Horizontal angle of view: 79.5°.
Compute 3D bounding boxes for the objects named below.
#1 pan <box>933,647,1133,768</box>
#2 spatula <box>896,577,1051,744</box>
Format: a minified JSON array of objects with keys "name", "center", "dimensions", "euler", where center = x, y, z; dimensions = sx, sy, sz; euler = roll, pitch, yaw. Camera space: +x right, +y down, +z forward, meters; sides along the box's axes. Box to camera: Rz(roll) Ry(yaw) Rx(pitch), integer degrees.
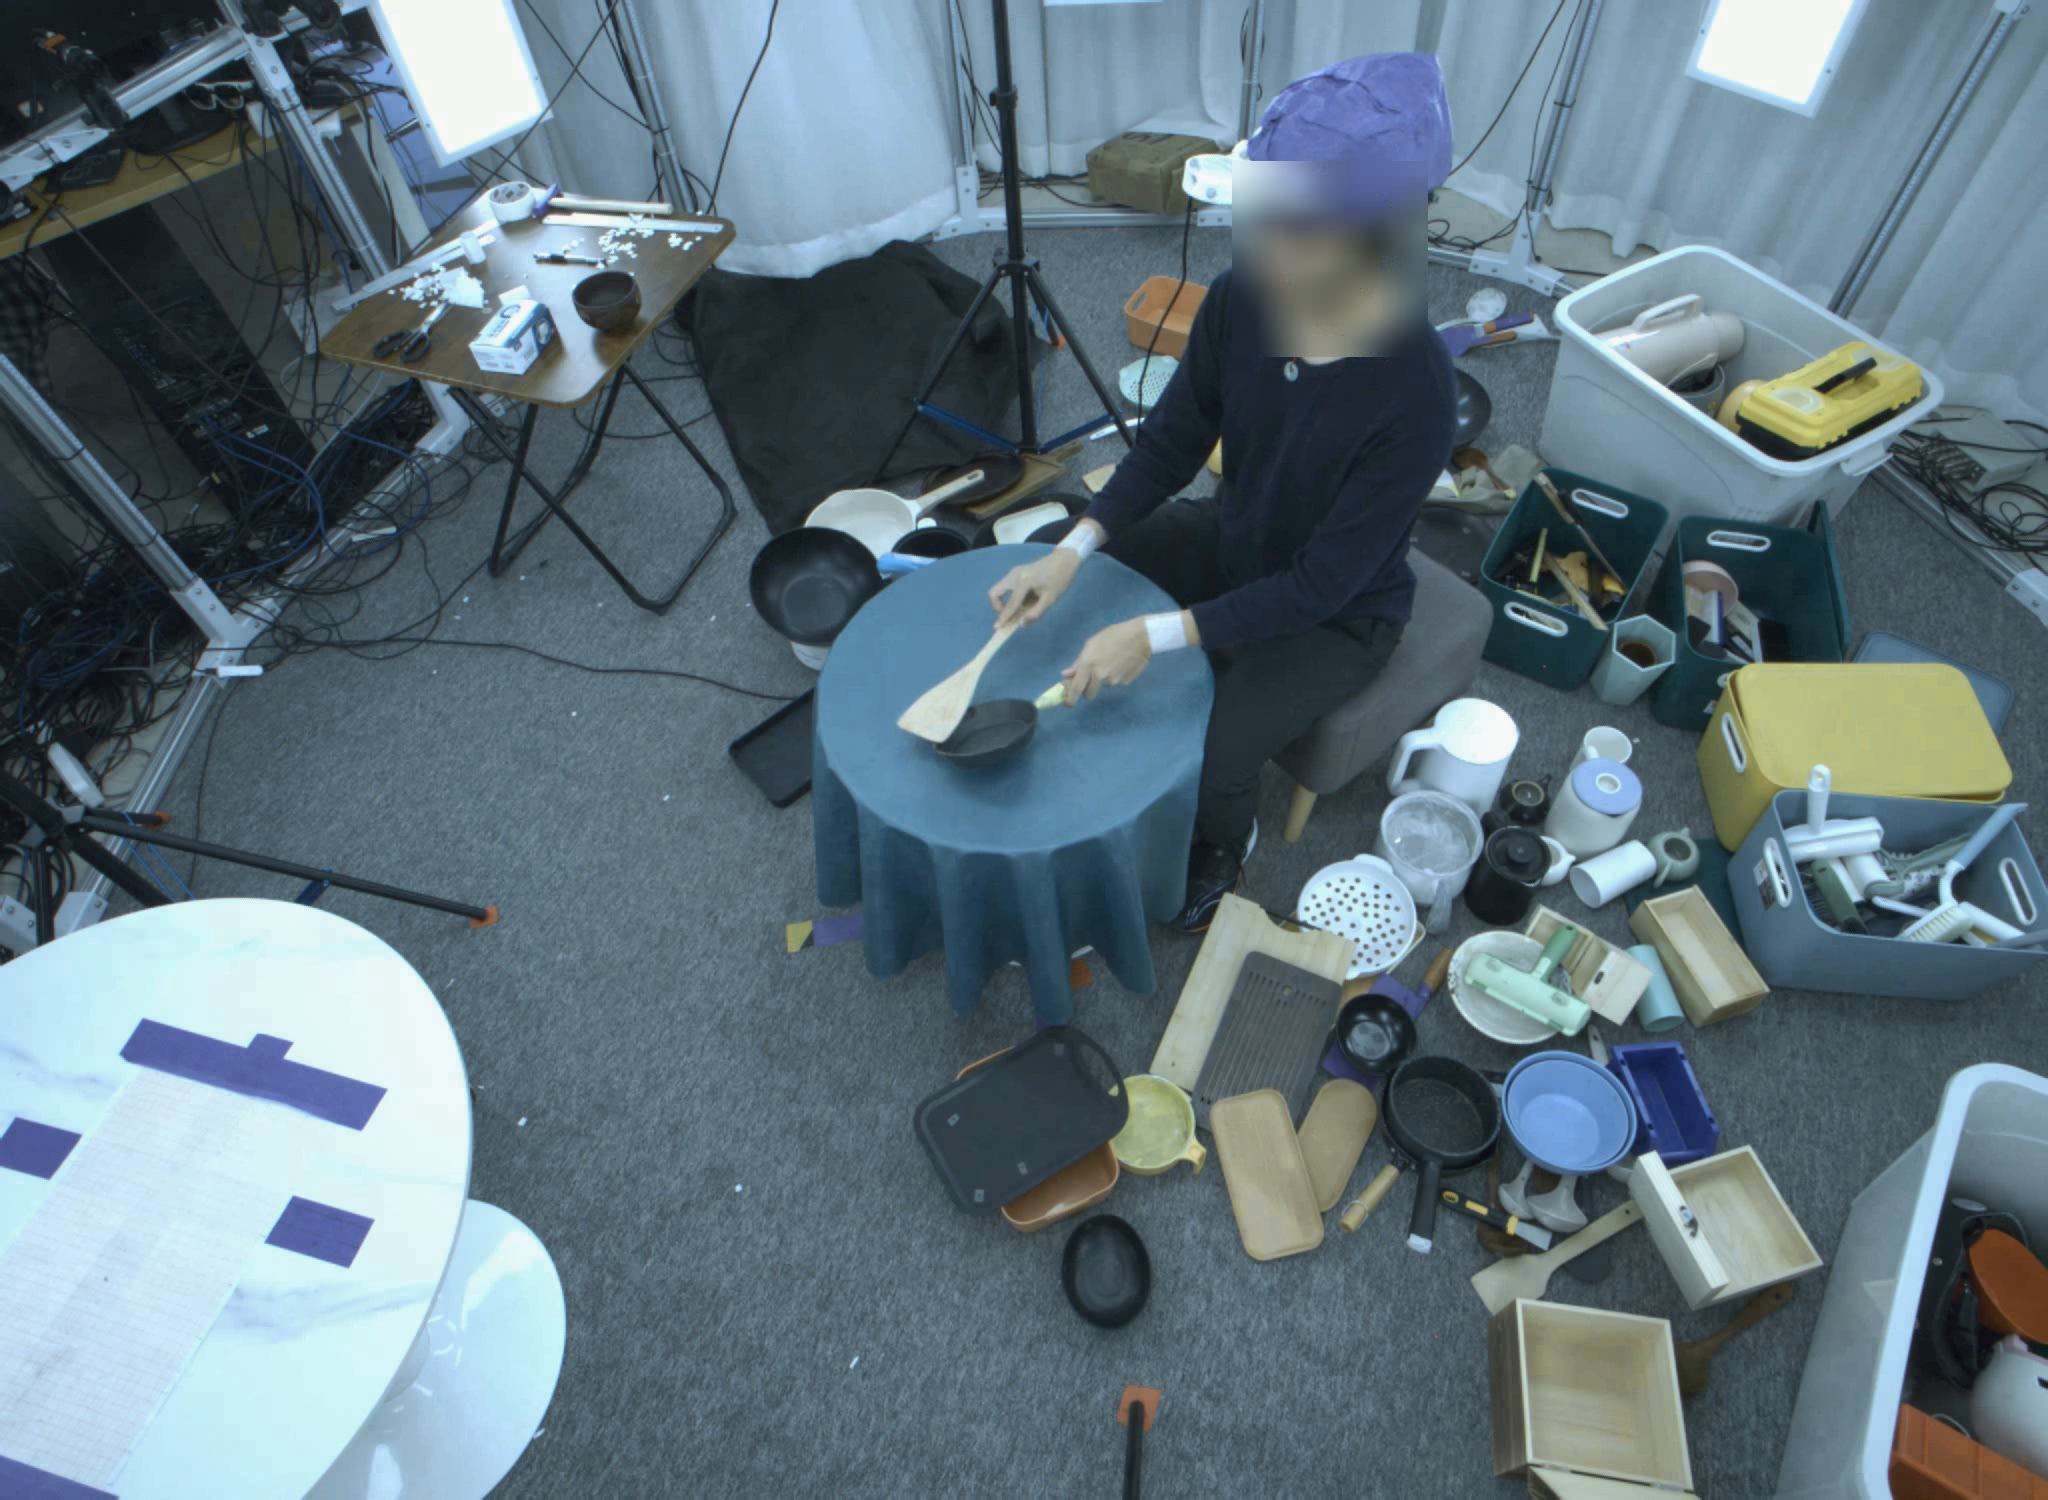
[{"name":"pan","center":[0.021,-0.063,1.766],"dimensions":[0.326,0.050,0.165],"euler":[-26,28,-12]},{"name":"spatula","center":[-0.060,-0.137,1.804],"dimensions":[0.079,0.017,0.328],"euler":[33,72,16]}]
